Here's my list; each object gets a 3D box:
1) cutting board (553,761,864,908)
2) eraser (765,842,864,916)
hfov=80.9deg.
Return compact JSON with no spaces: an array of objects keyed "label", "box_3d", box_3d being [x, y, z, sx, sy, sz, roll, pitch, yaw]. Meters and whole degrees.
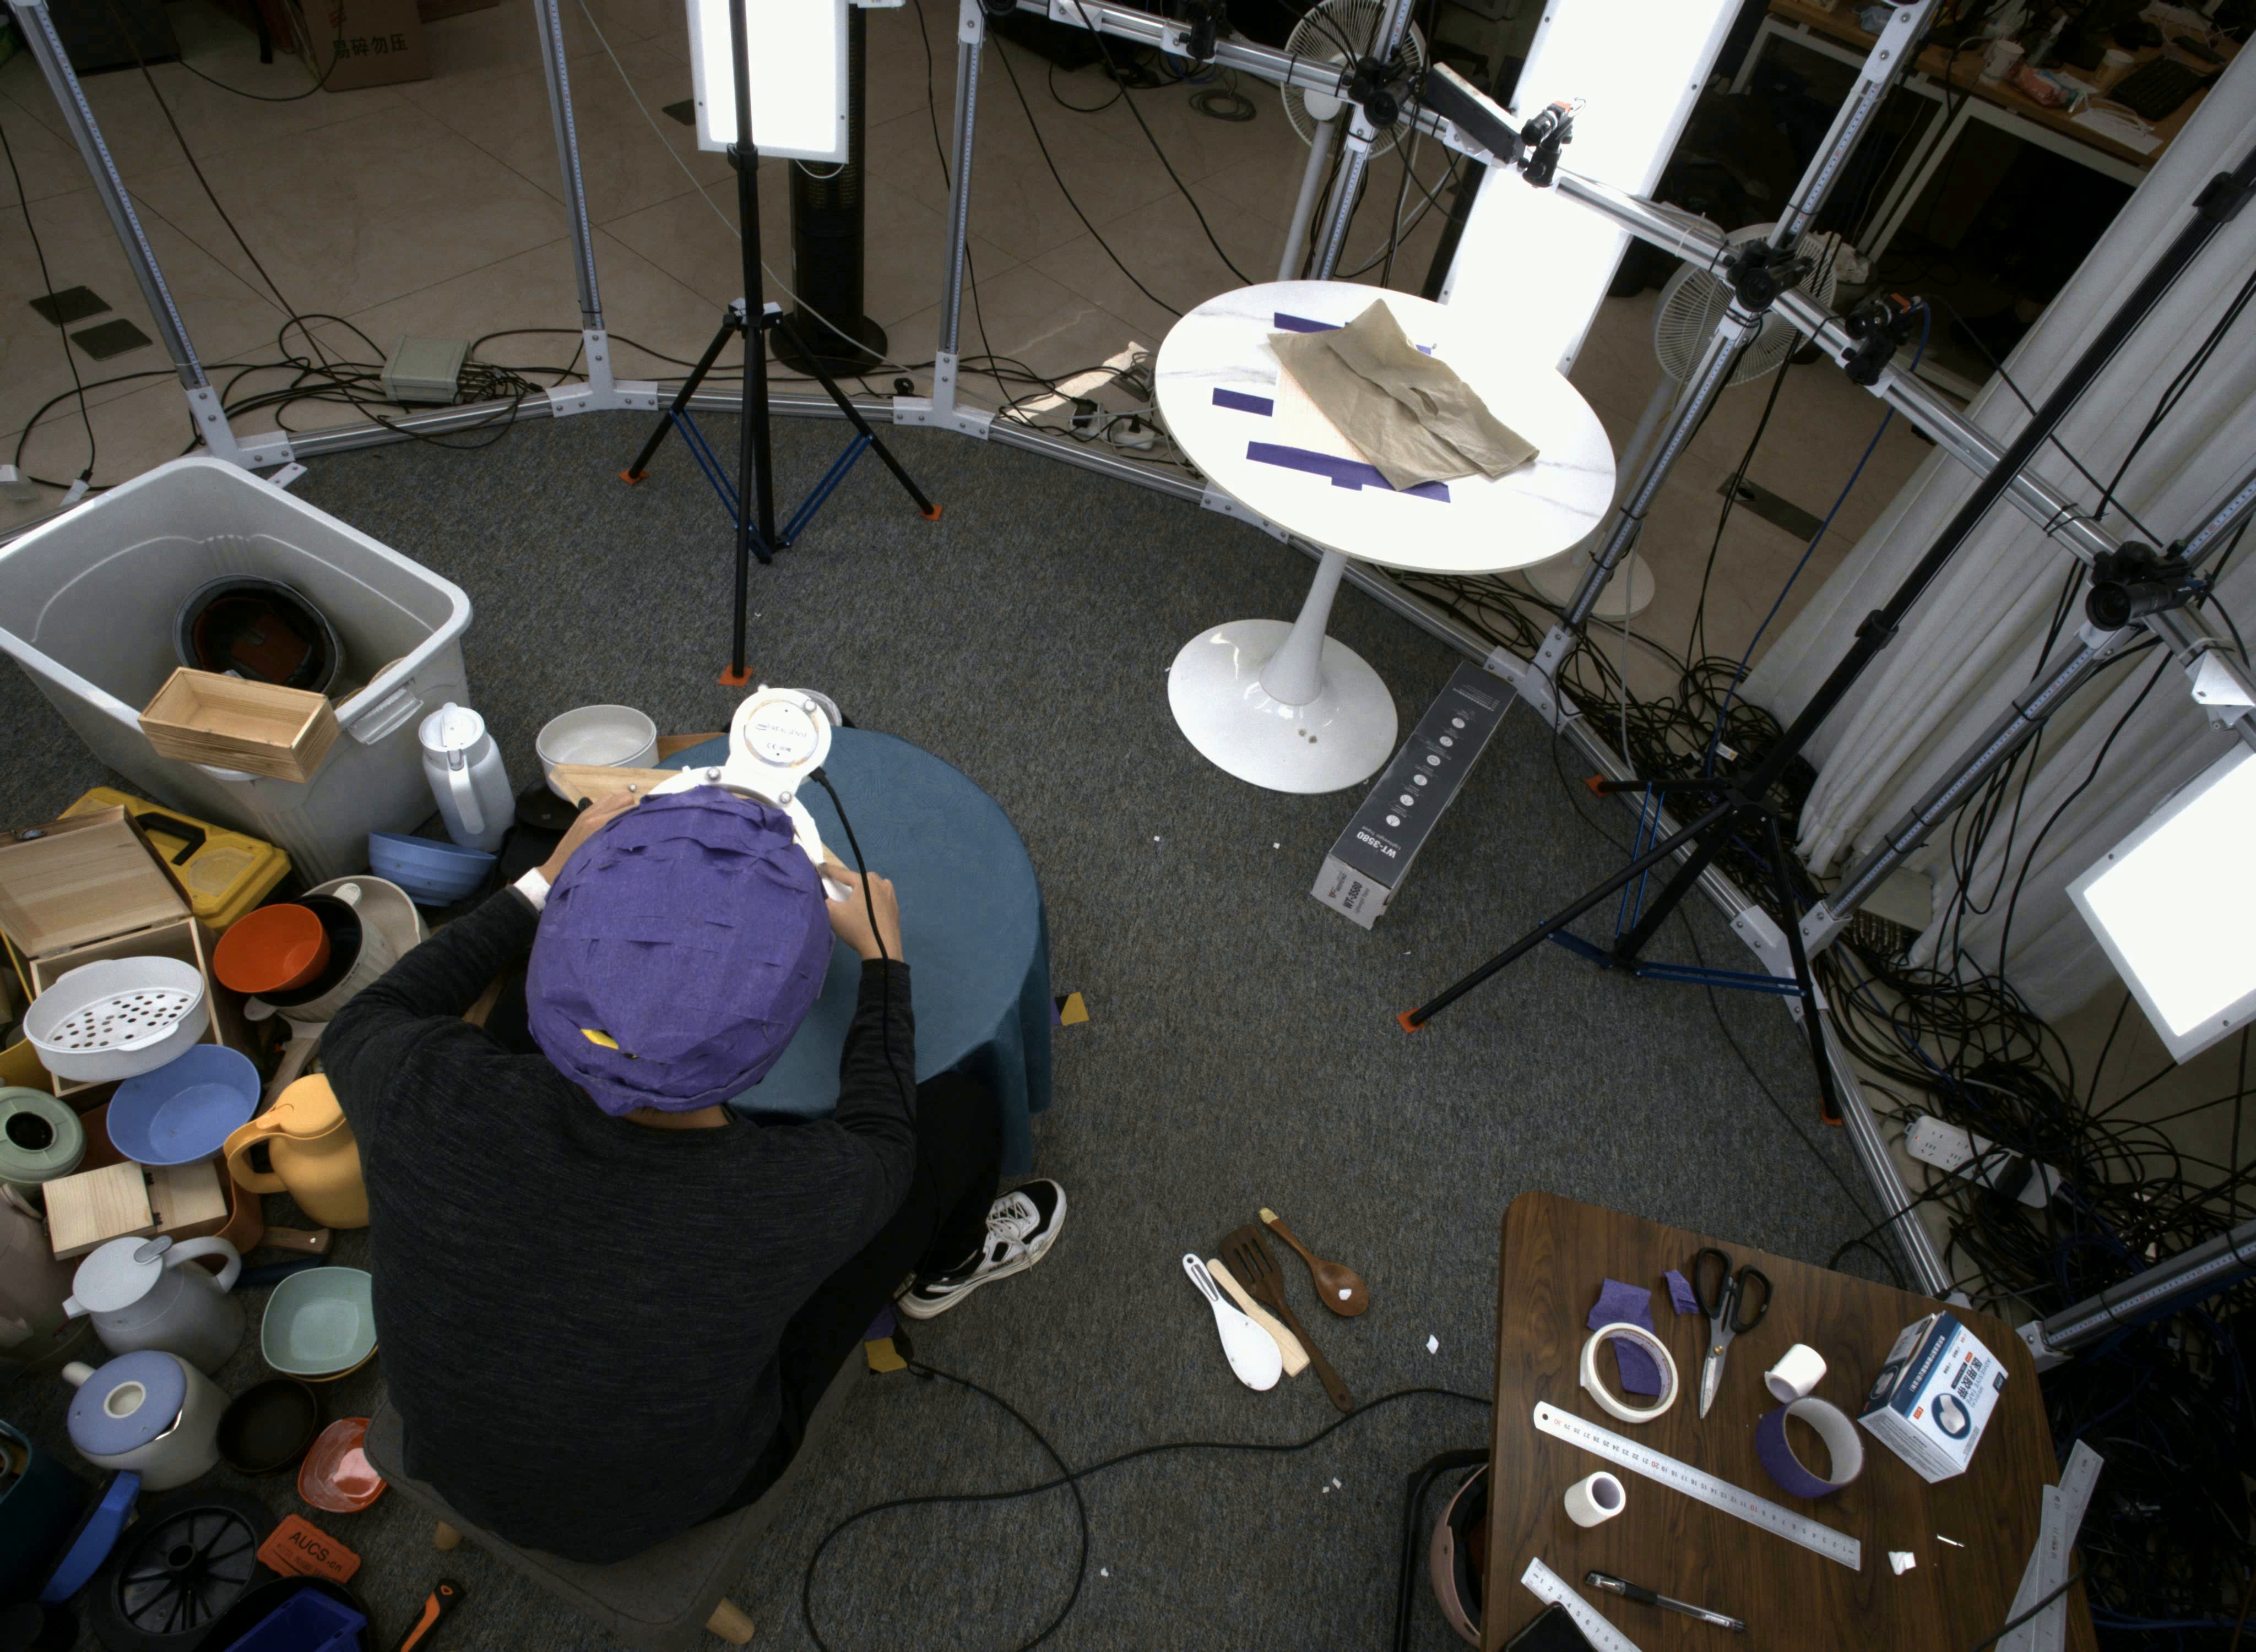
[{"label":"cutting board","box_3d":[-0.497,0.008,1.541,0.245,0.024,0.354,41,15,18]},{"label":"eraser","box_3d":[-0.375,0.058,1.545,0.127,0.035,0.065,36,14,25]}]
